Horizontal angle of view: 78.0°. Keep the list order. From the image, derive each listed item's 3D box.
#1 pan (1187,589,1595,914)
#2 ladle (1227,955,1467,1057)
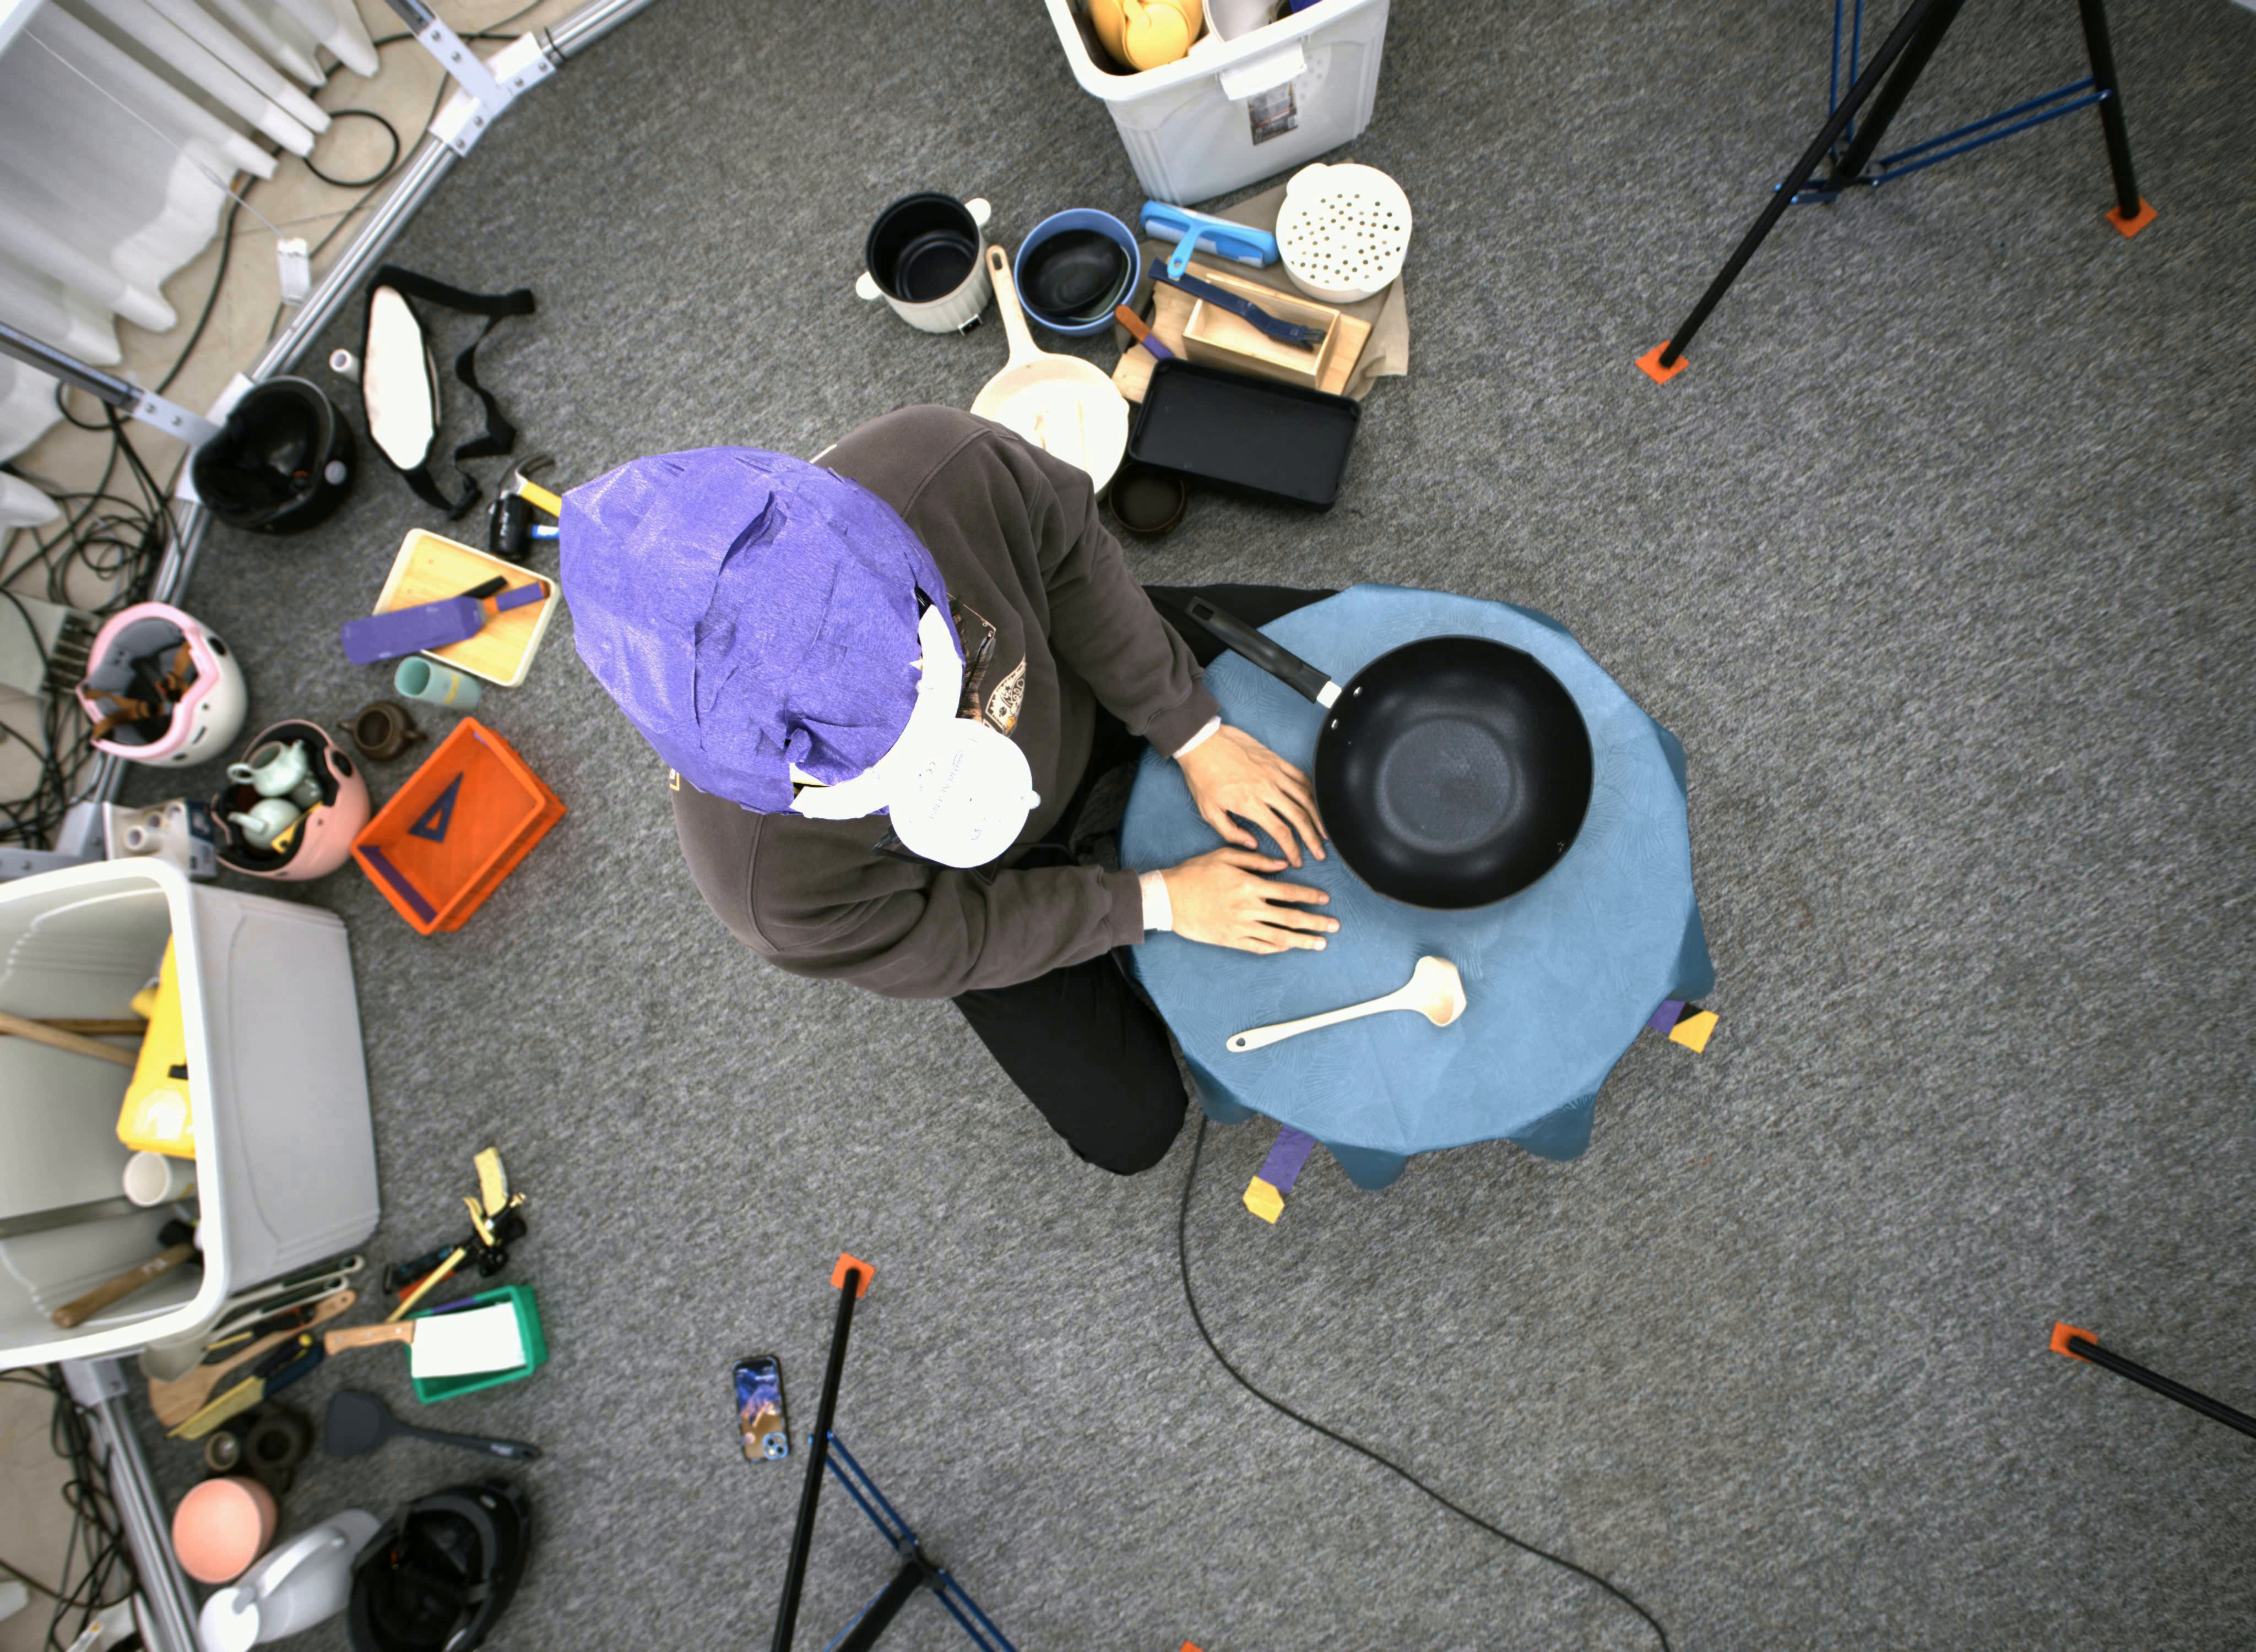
[{"bbox_3d":[0.255,-0.102,1.427,0.462,0.087,0.289,35,94,11],"label":"pan"},{"bbox_3d":[0.221,0.196,1.424,0.256,0.073,0.072,-18,85,8],"label":"ladle"}]
